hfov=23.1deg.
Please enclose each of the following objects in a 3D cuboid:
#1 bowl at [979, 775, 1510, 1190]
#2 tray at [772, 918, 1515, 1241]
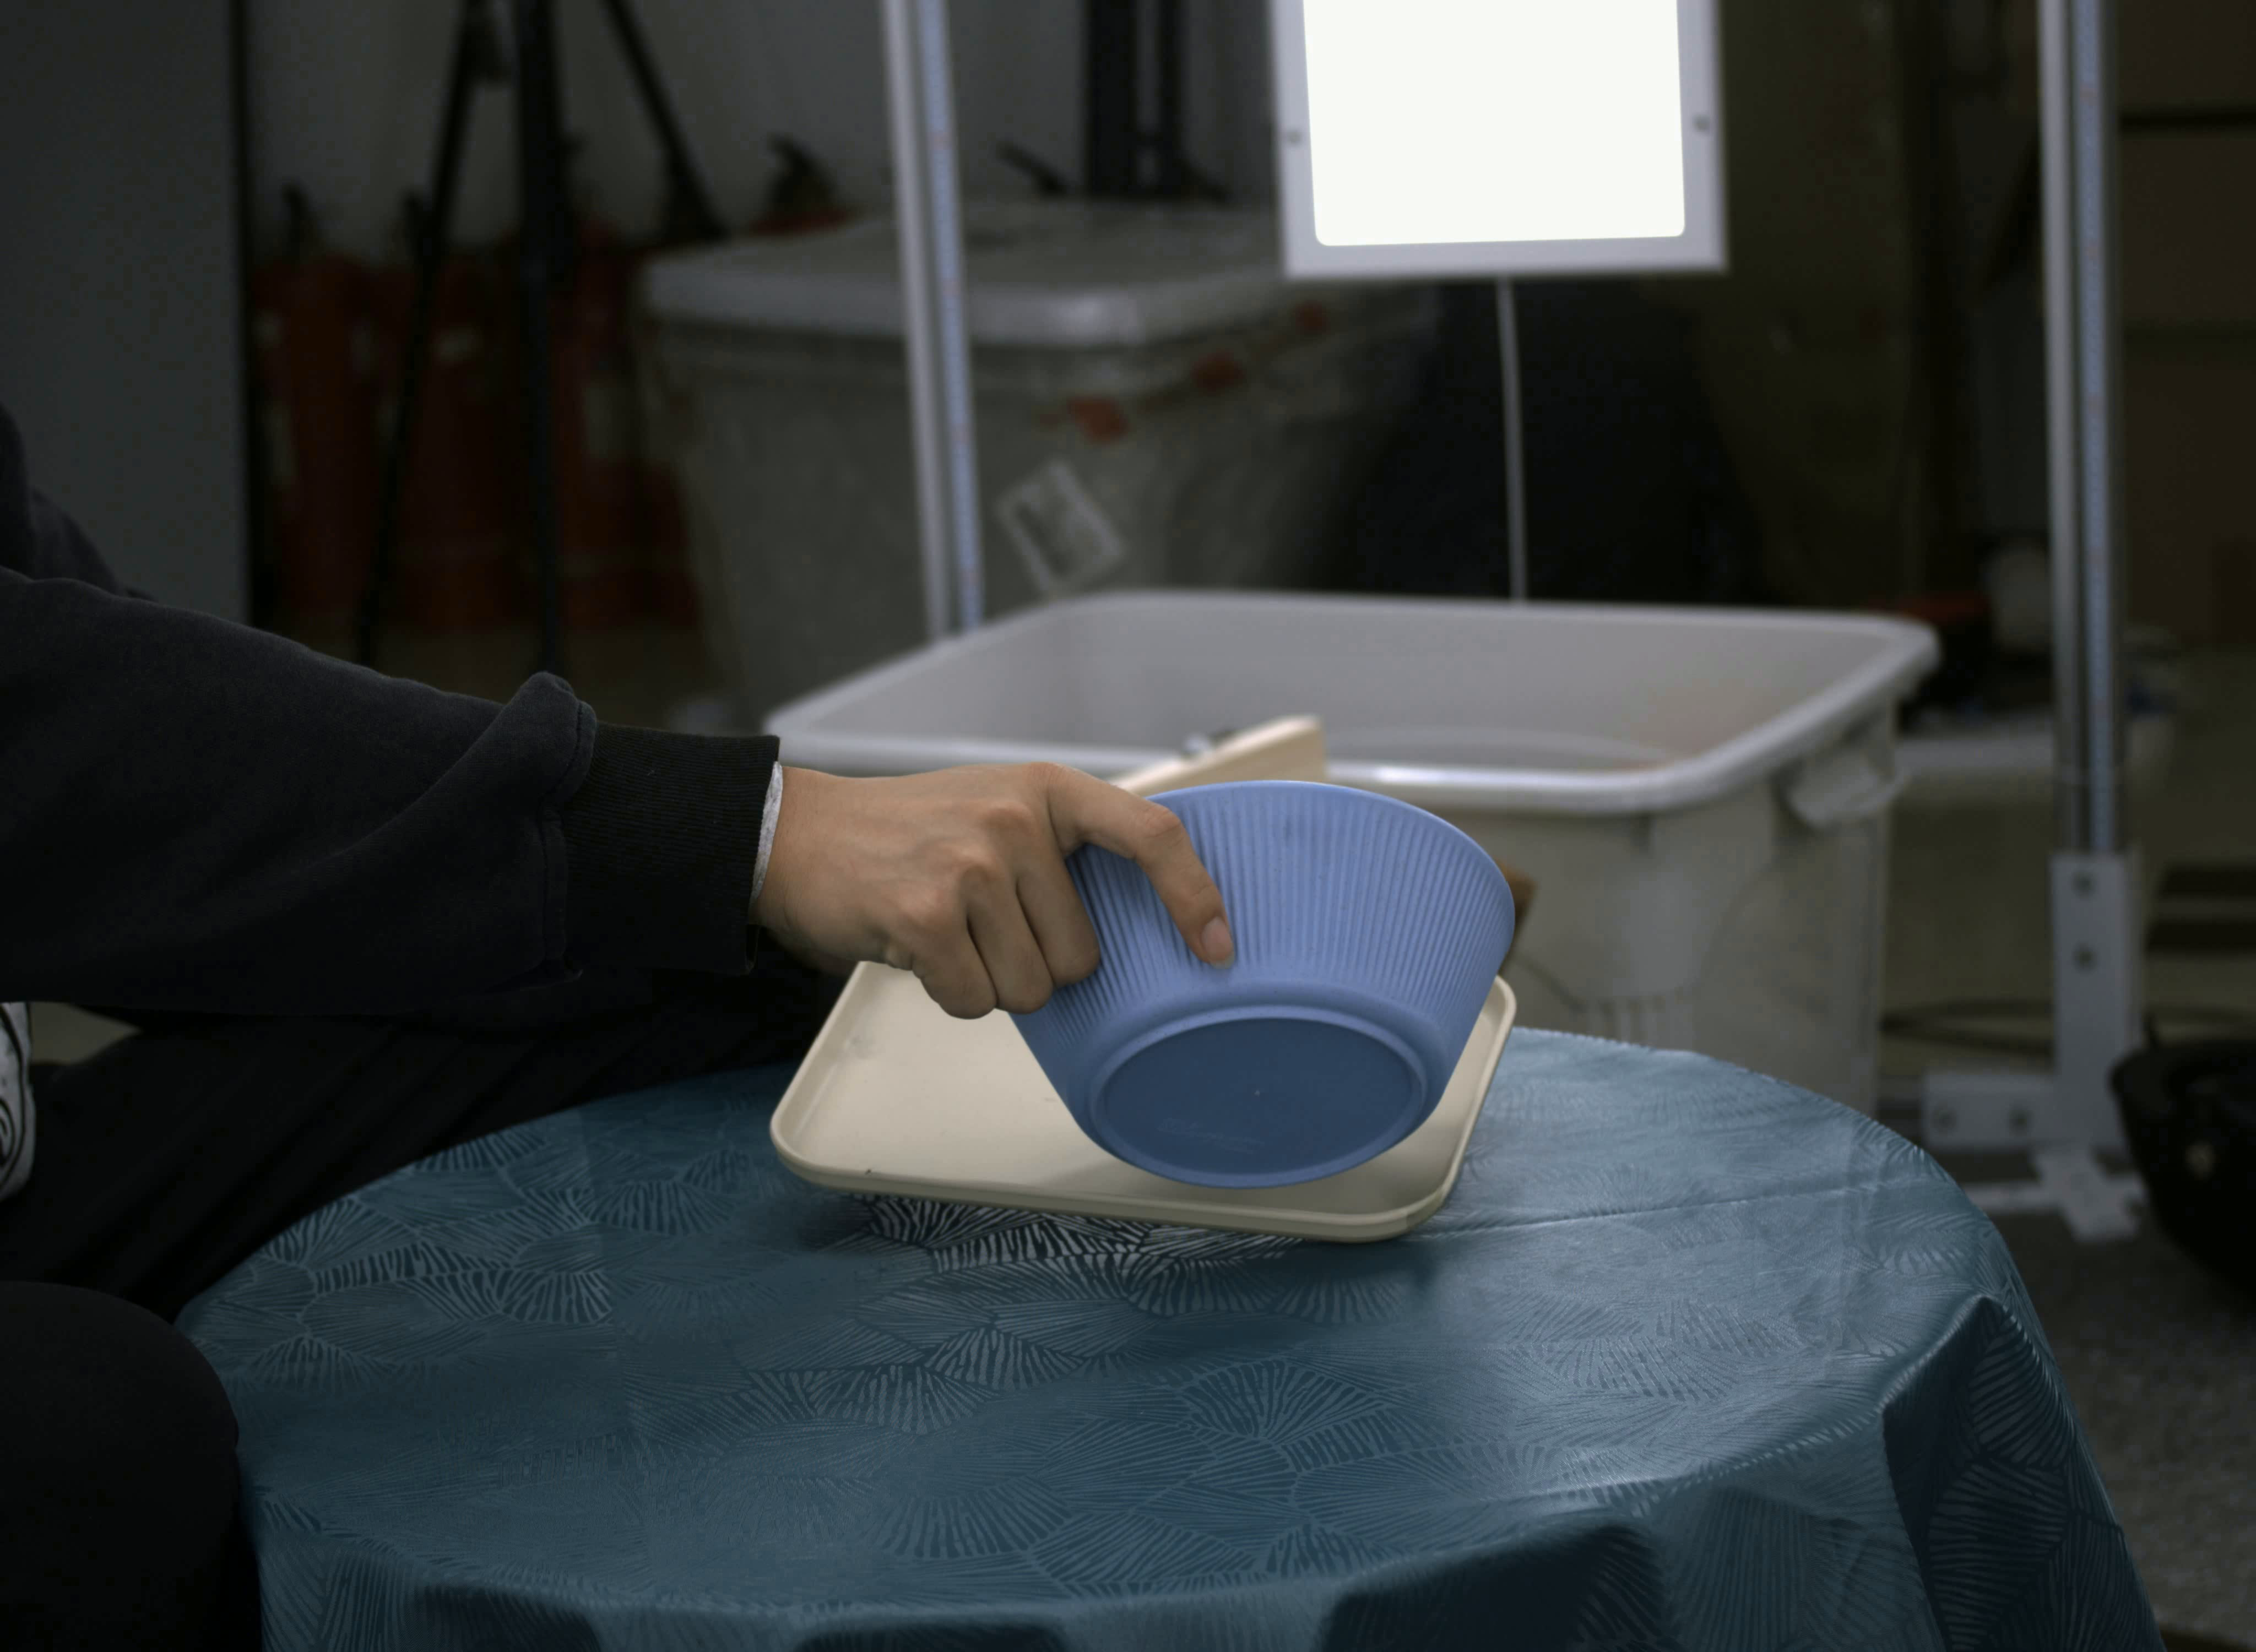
[{"bbox_3d":[0.039,0.061,1.785,0.176,0.176,0.070,-3,55,4],"label":"bowl"},{"bbox_3d":[0.007,0.088,1.908,0.242,0.017,0.169,4,30,16],"label":"tray"}]
